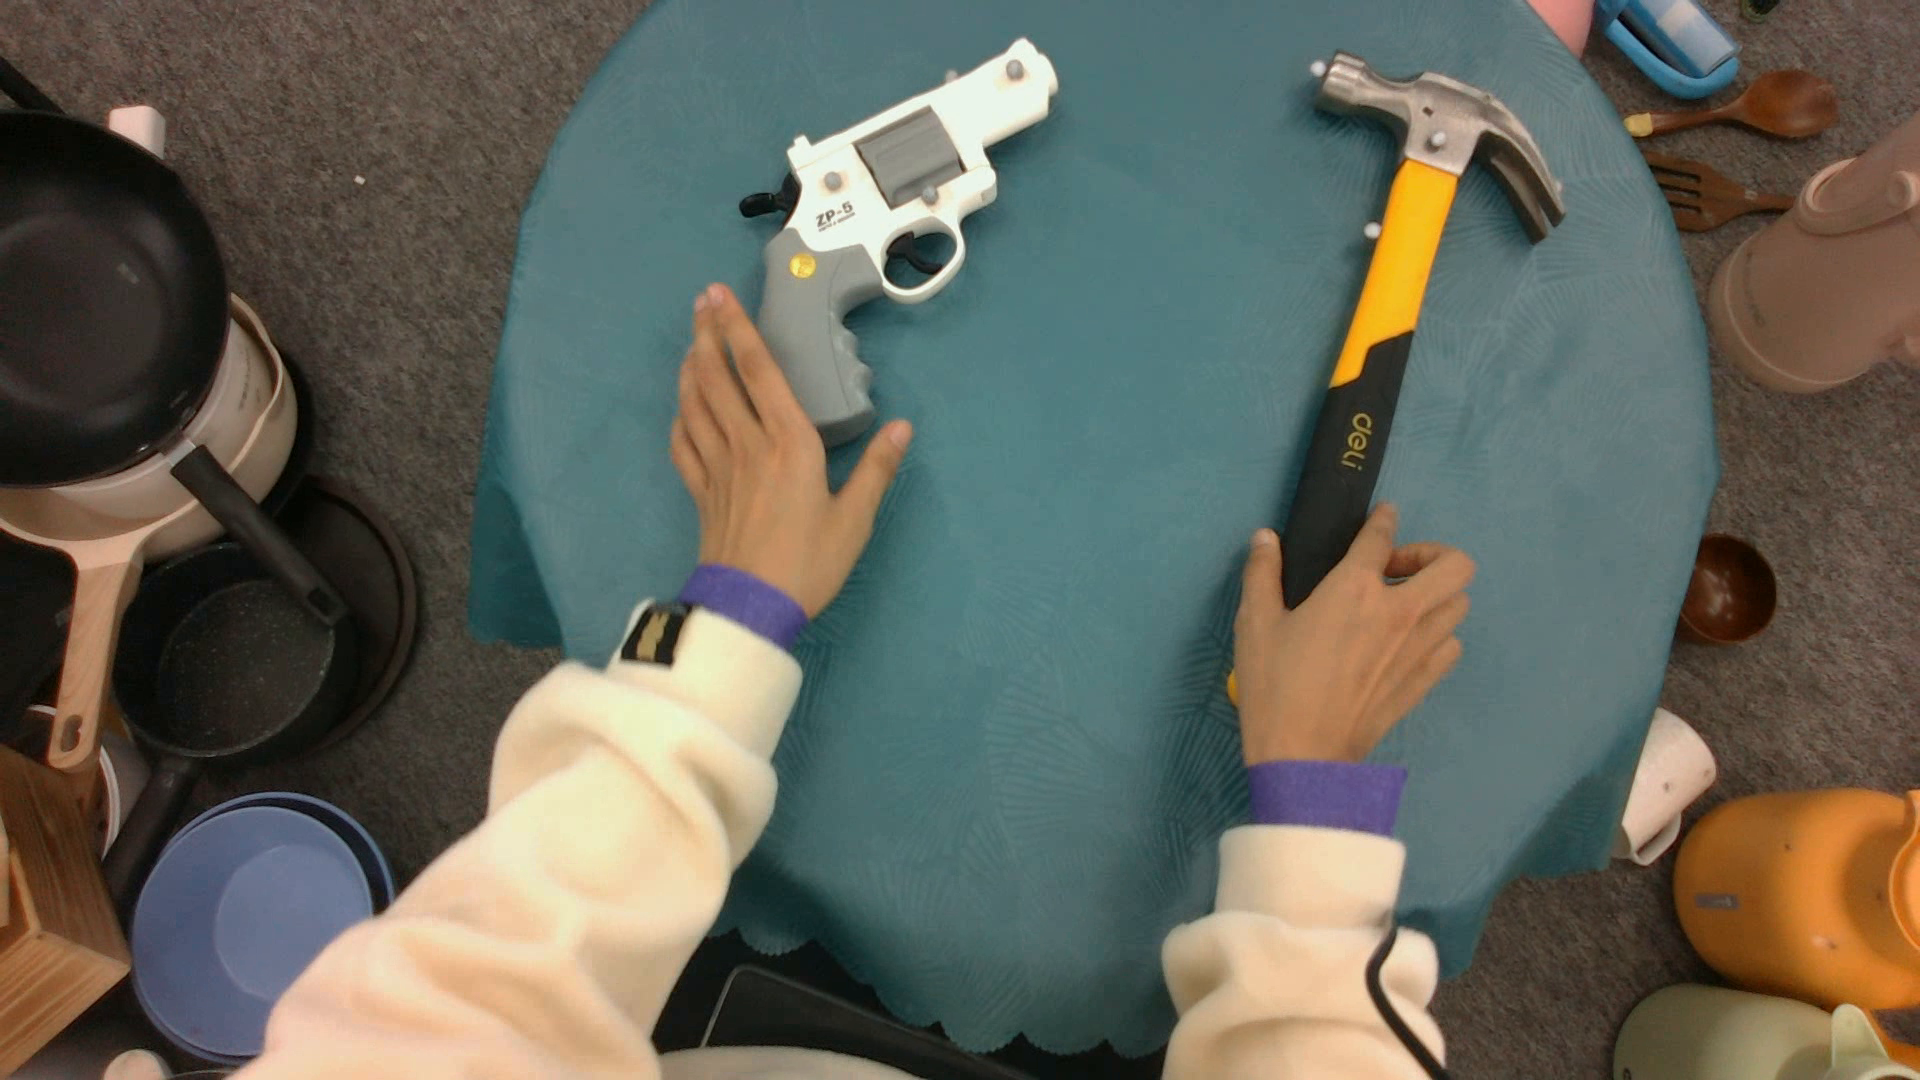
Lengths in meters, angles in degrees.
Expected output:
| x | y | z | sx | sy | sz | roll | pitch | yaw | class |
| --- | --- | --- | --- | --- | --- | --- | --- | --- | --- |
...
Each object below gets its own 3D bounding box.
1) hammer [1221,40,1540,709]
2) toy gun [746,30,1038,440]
| x | y | z | sx | sy | sz | roll | pitch | yaw | class |
| --- | --- | --- | --- | --- | --- | --- | --- | --- | --- |
| 0.189 | -0.081 | 0.665 | 0.131 | 0.032 | 0.339 | 20 | 74 | -1 | hammer |
| -0.031 | -0.151 | 0.666 | 0.209 | 0.039 | 0.142 | -30 | 75 | -7 | toy gun |
